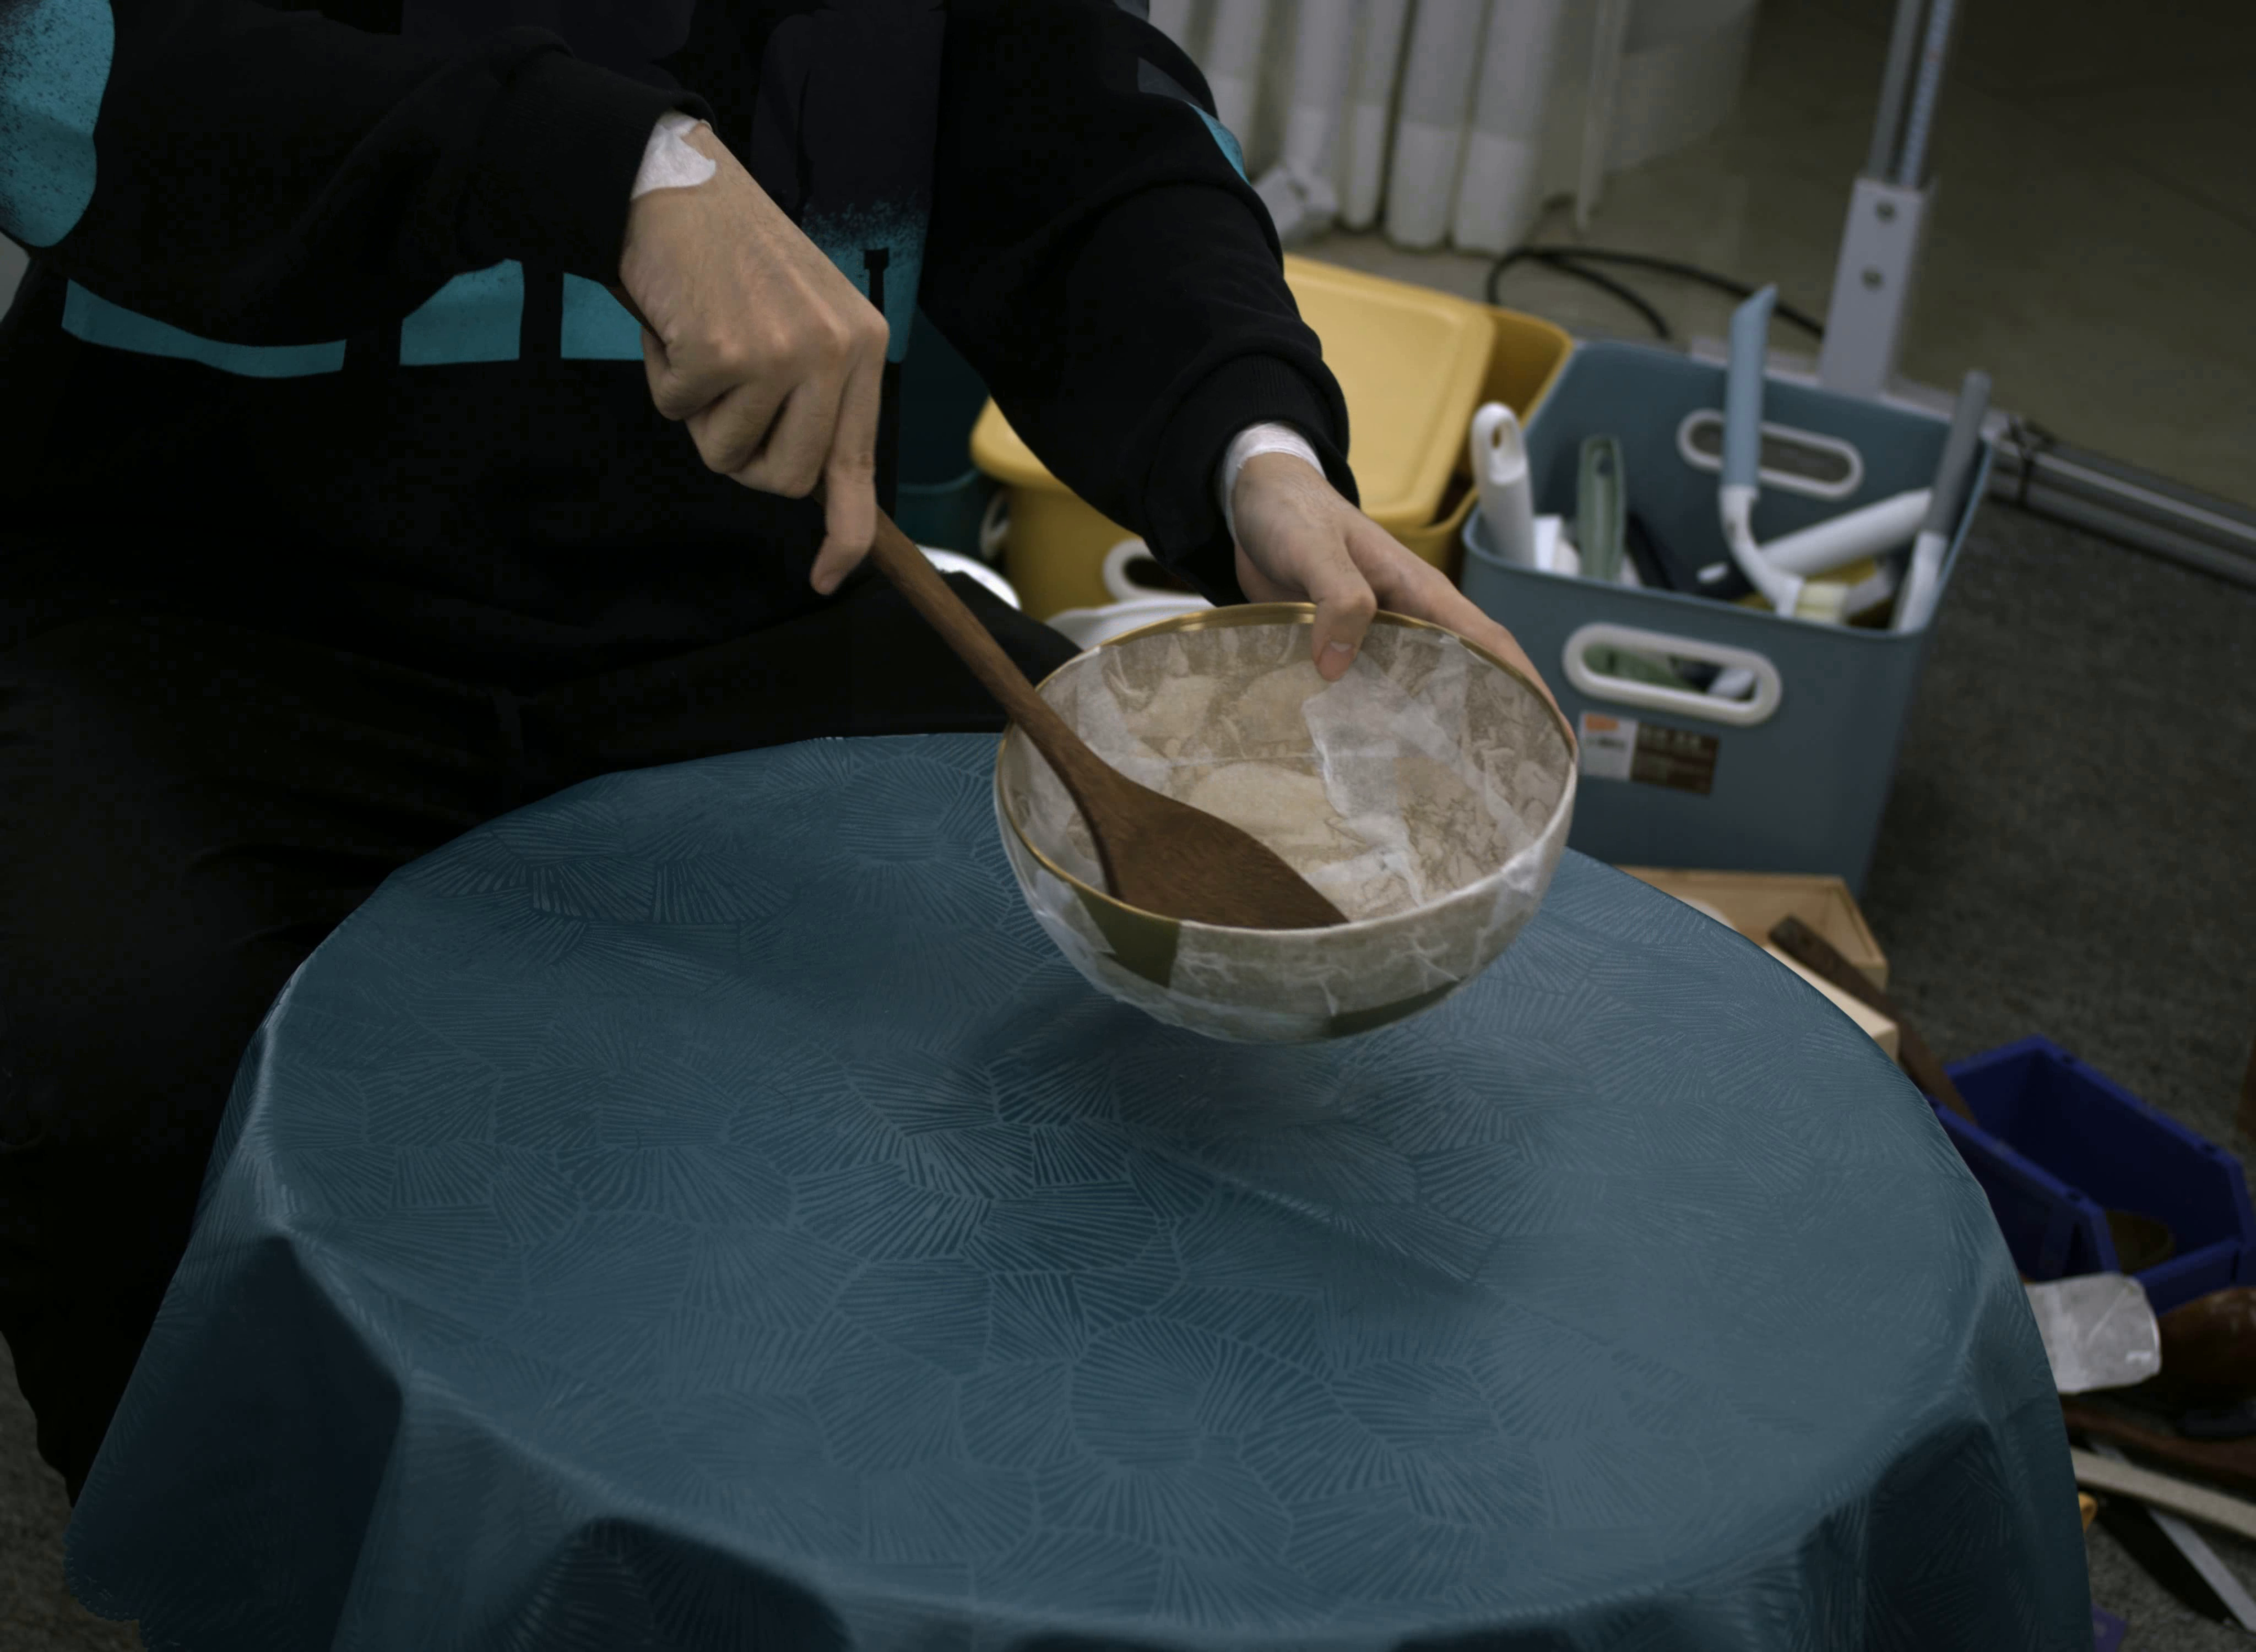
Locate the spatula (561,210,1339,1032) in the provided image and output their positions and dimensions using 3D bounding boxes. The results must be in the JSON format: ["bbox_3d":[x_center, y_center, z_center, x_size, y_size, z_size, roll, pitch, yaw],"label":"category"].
[{"bbox_3d":[-0.062,-0.074,1.851,0.386,0.016,0.096,47,35,1],"label":"spatula"}]

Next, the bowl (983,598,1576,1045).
[{"bbox_3d":[0.055,0.011,1.849,0.214,0.094,0.216,-4,34,2],"label":"bowl"}]
